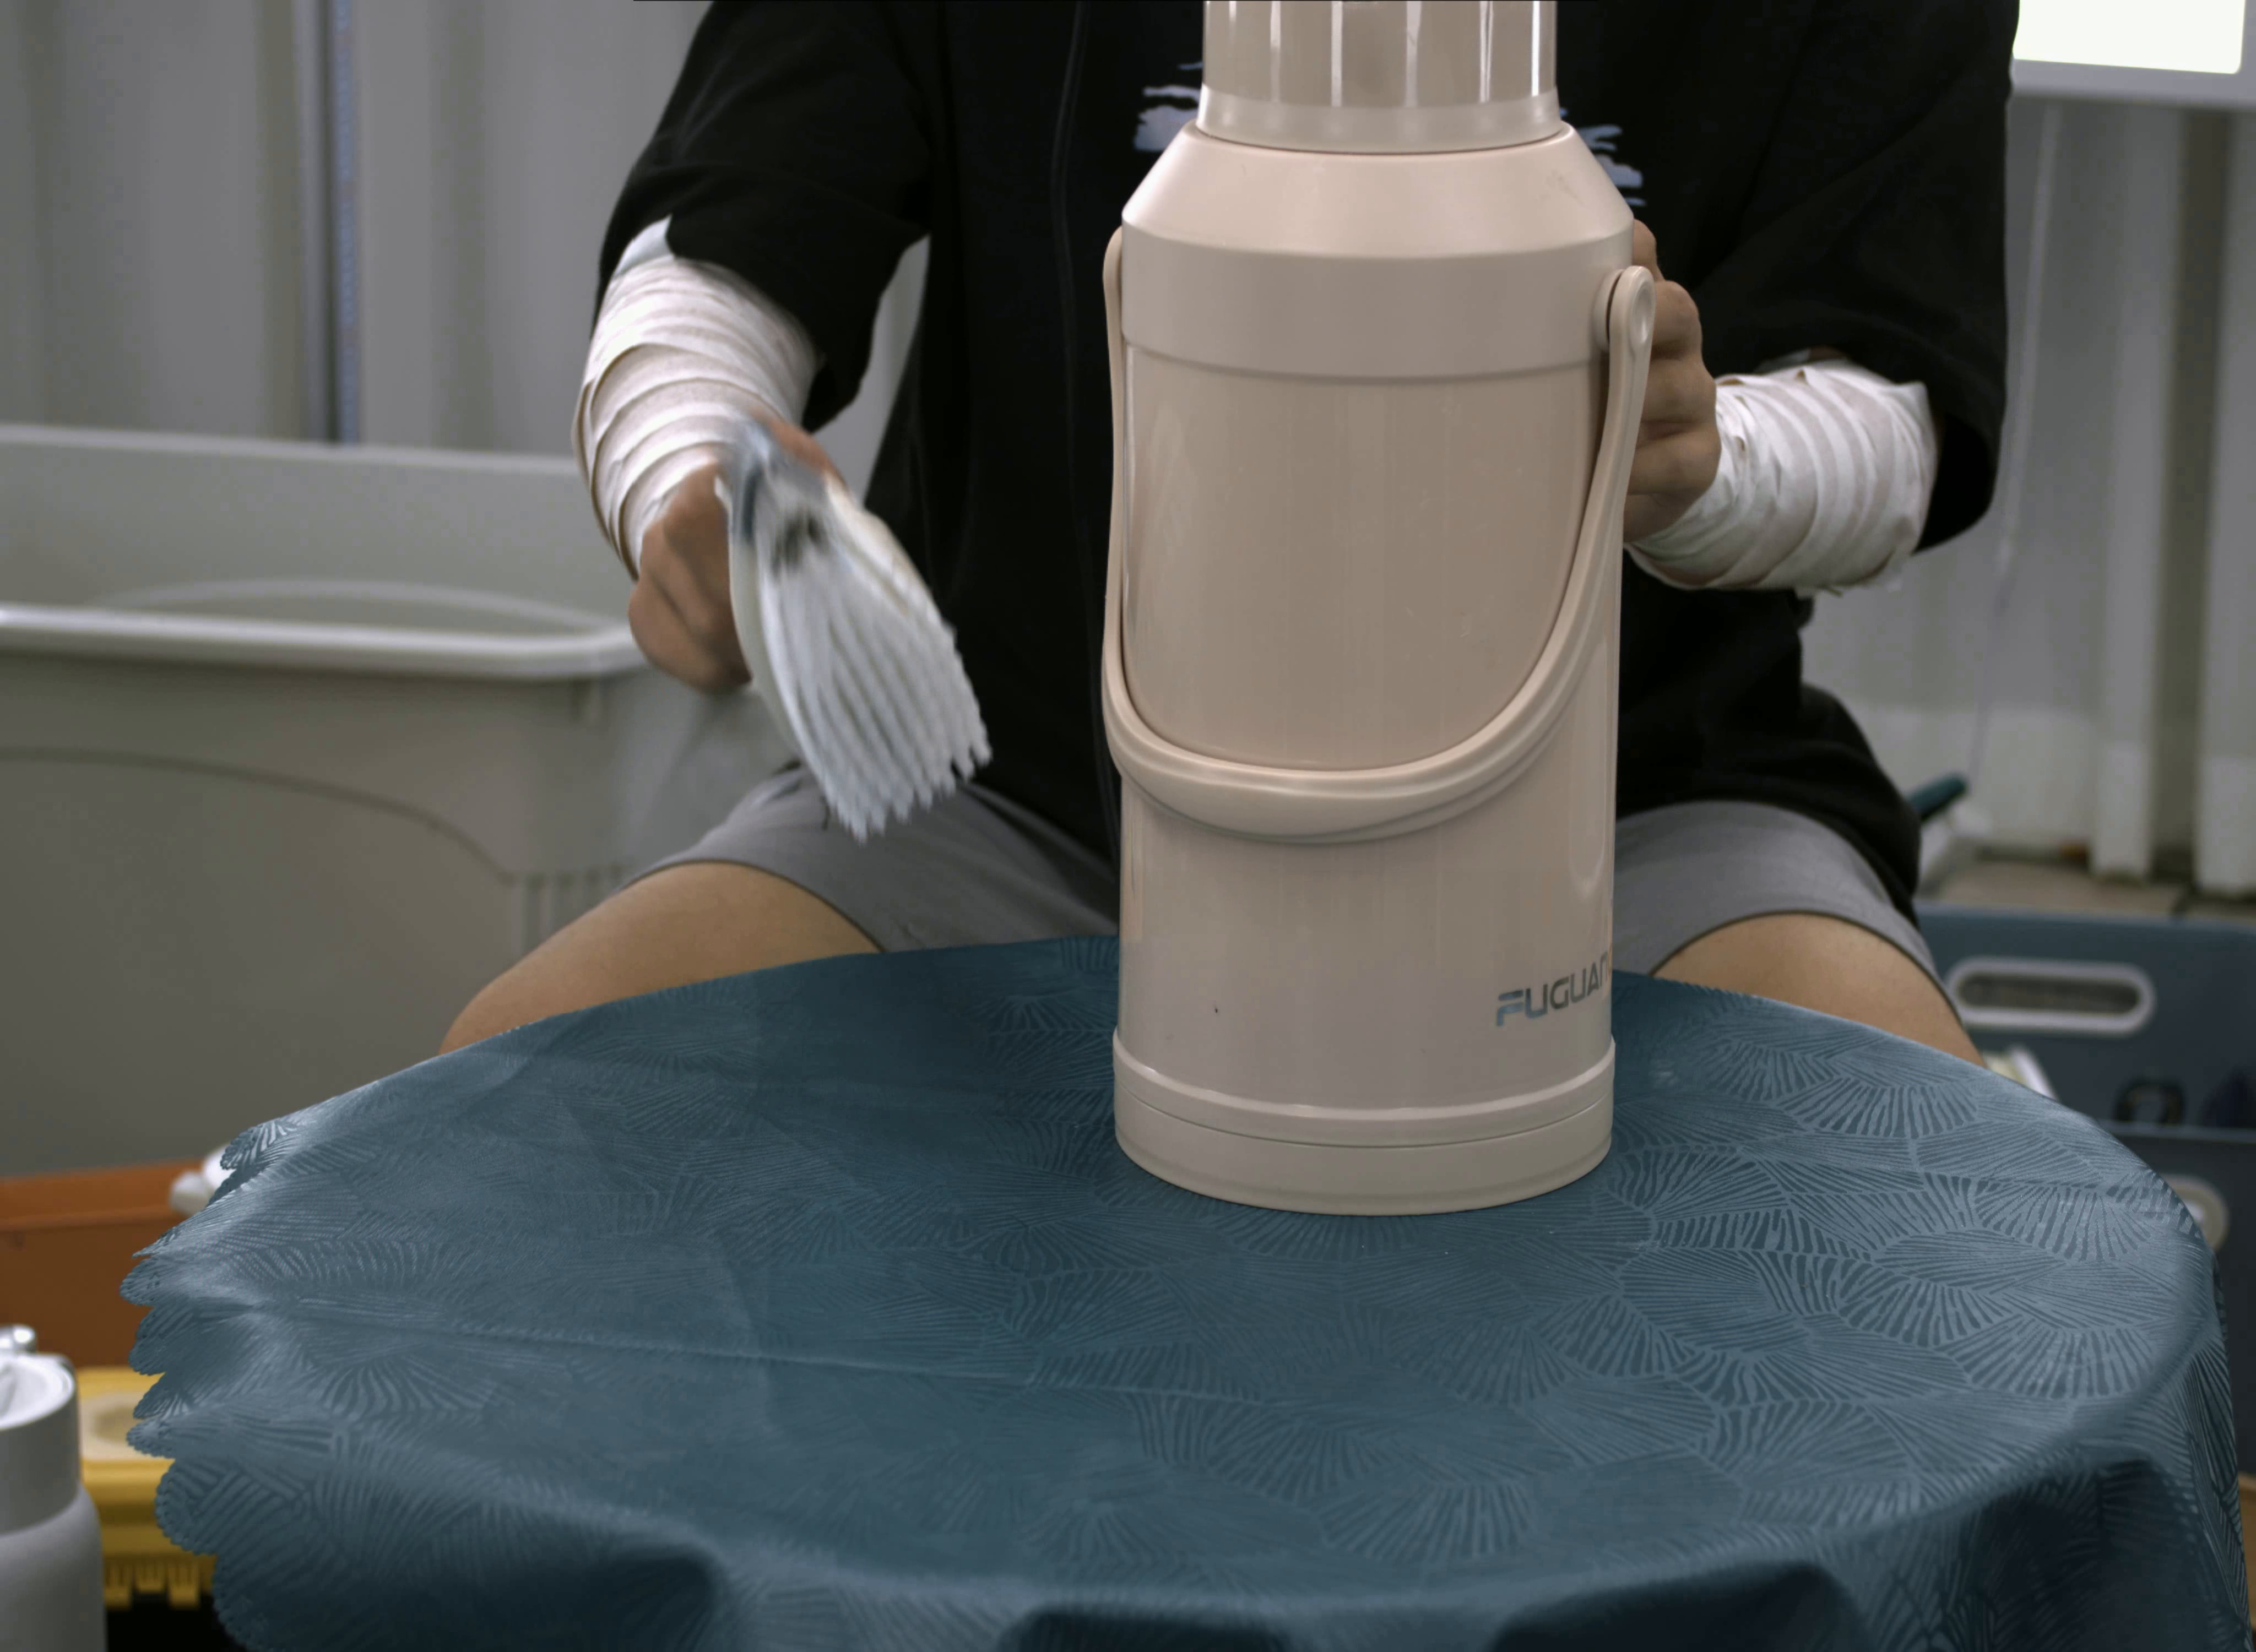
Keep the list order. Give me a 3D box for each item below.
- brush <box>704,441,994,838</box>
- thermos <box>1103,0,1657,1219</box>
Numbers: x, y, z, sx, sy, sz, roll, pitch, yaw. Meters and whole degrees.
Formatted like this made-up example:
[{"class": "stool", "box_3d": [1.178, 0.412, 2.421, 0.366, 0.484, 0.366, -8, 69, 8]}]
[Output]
[{"class": "brush", "box_3d": [-0.098, -0.074, 1.634, 0.061, 0.177, 0.093, -34, 64, -5]}, {"class": "thermos", "box_3d": [0.083, -0.096, 1.634, 0.173, 0.409, 0.207, 7, 17, 25]}]
